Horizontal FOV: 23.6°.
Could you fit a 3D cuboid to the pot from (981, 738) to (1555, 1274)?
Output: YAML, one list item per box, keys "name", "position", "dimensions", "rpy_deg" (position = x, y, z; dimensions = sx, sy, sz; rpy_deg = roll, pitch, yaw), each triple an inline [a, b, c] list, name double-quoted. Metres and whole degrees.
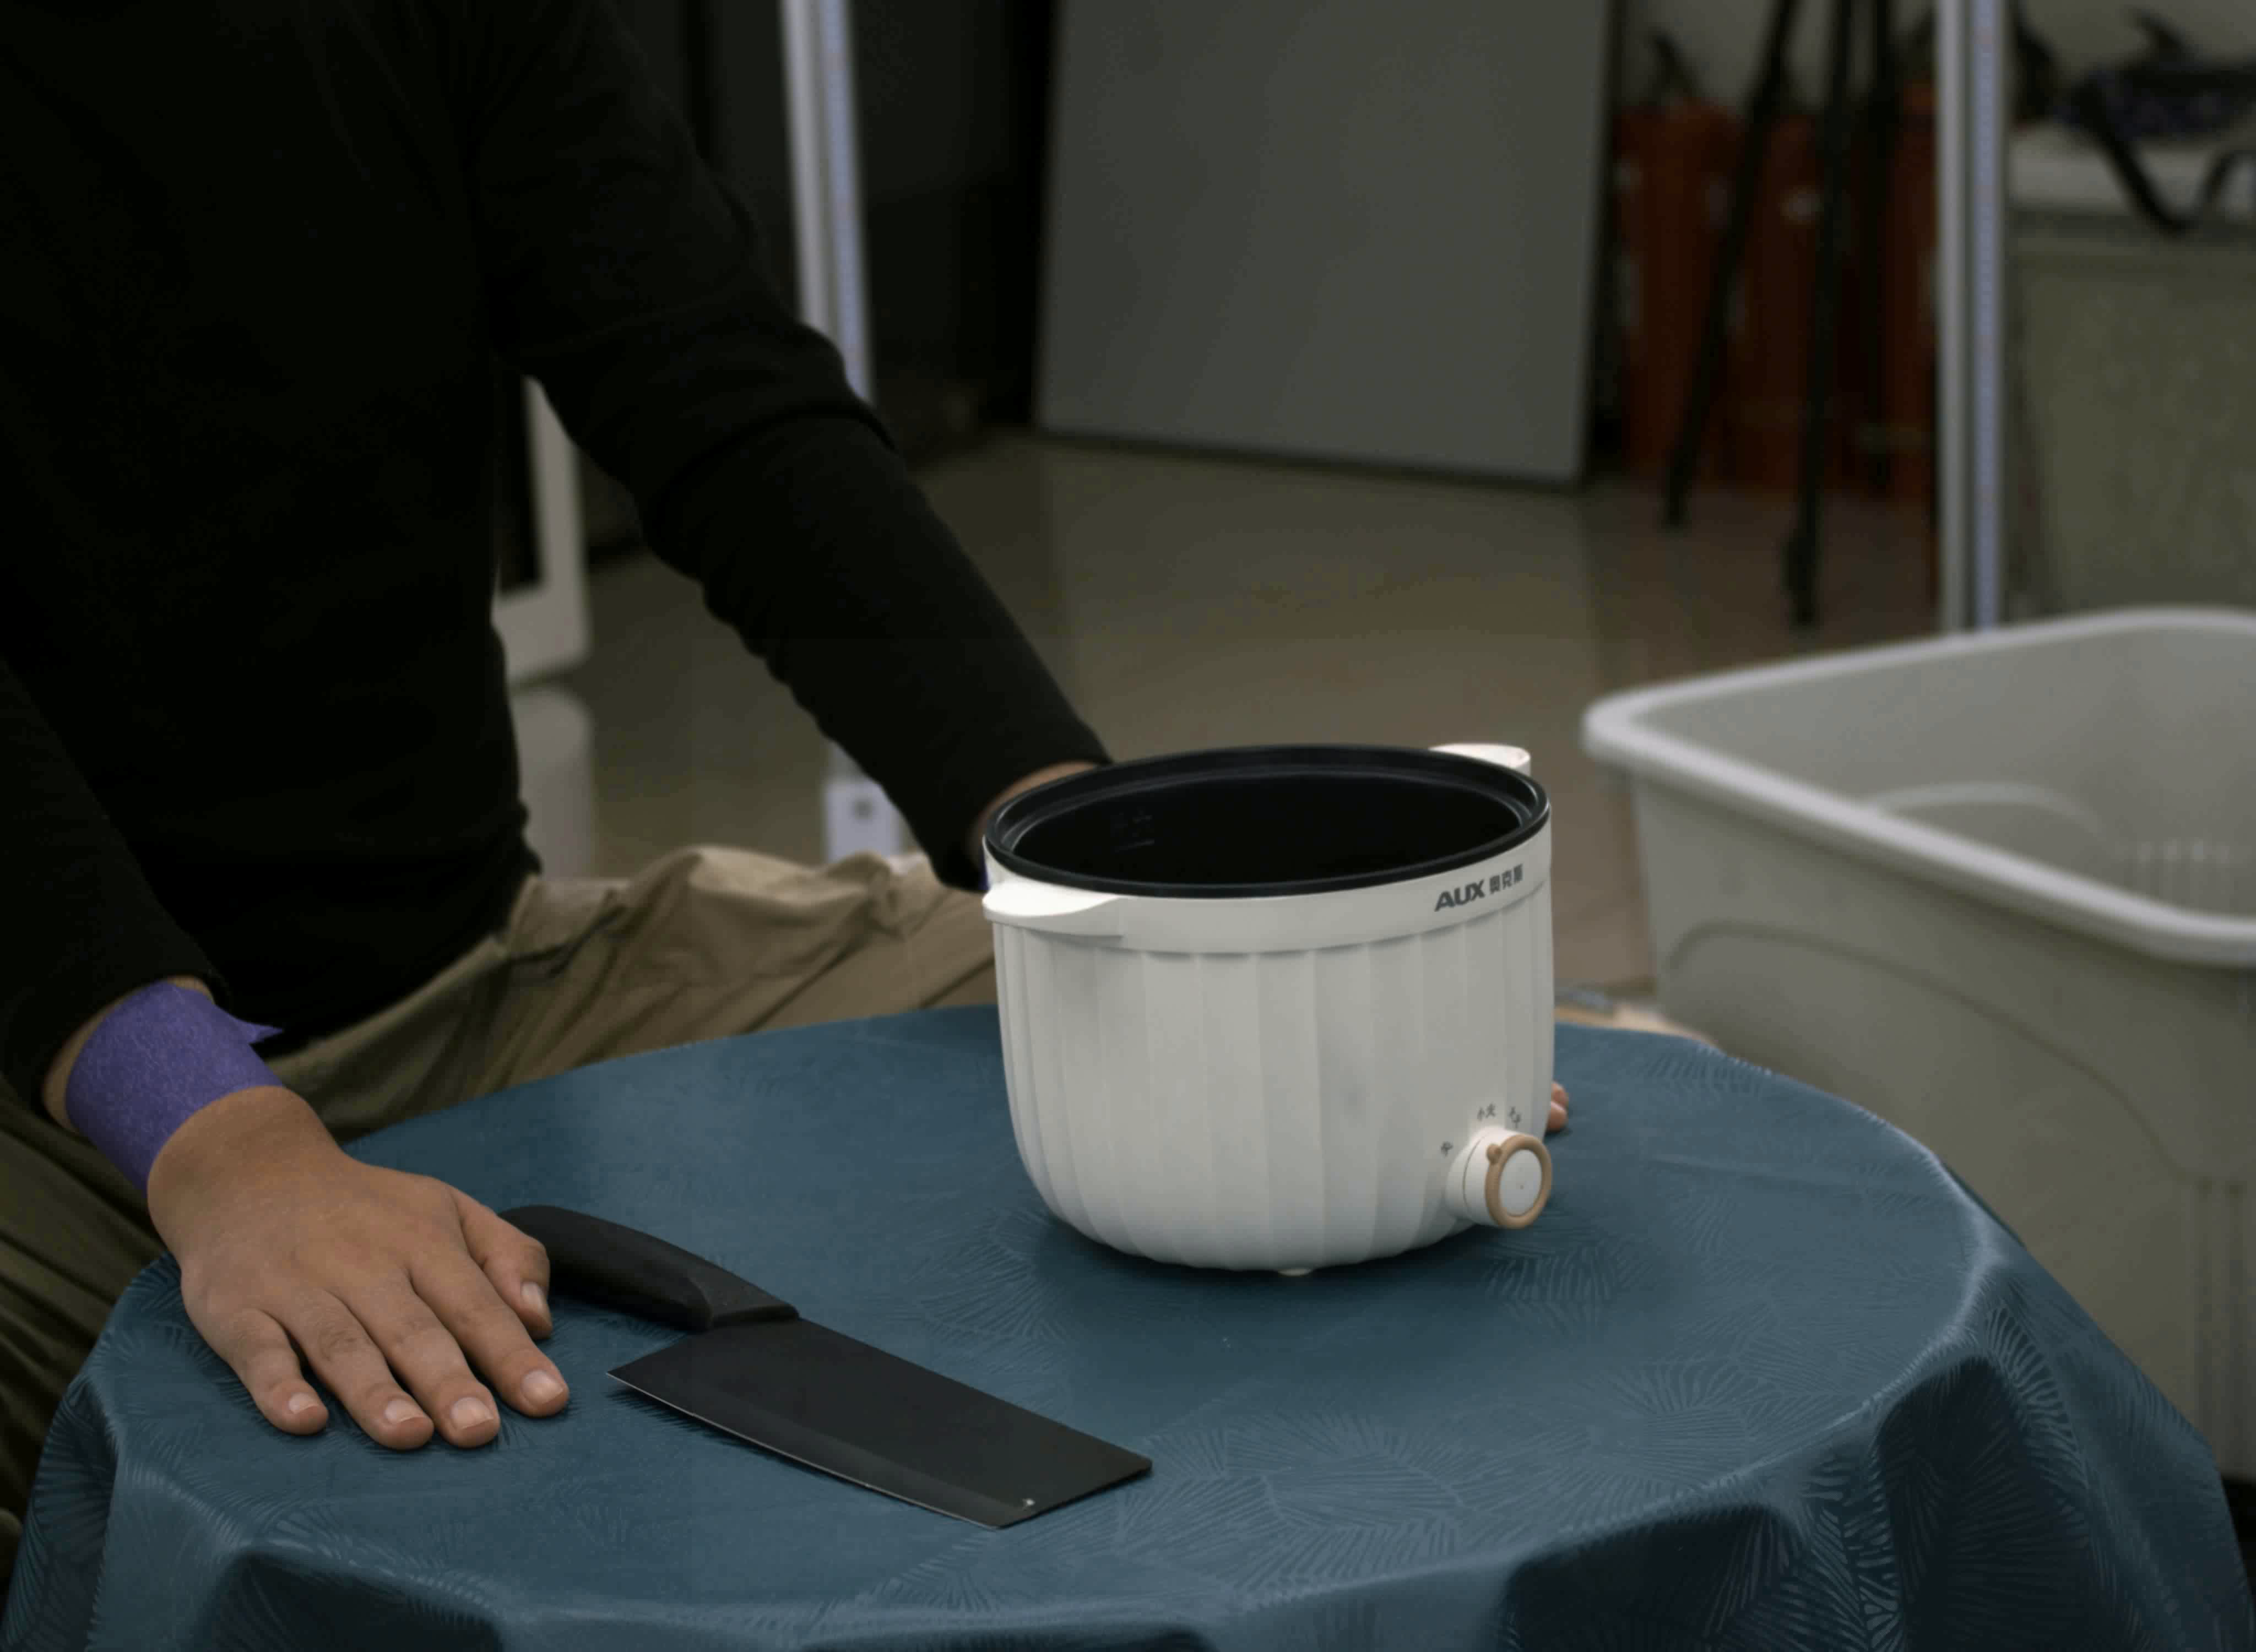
- name: "pot"
  position: [0.052, 0.059, 1.720]
  dimensions: [0.192, 0.144, 0.235]
  rpy_deg: [5, 17, 44]

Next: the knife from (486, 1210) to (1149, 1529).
- name: "knife"
  position: [-0.108, 0.161, 1.618]
  dimensions: [0.079, 0.021, 0.305]
  rpy_deg: [-15, 19, -32]
